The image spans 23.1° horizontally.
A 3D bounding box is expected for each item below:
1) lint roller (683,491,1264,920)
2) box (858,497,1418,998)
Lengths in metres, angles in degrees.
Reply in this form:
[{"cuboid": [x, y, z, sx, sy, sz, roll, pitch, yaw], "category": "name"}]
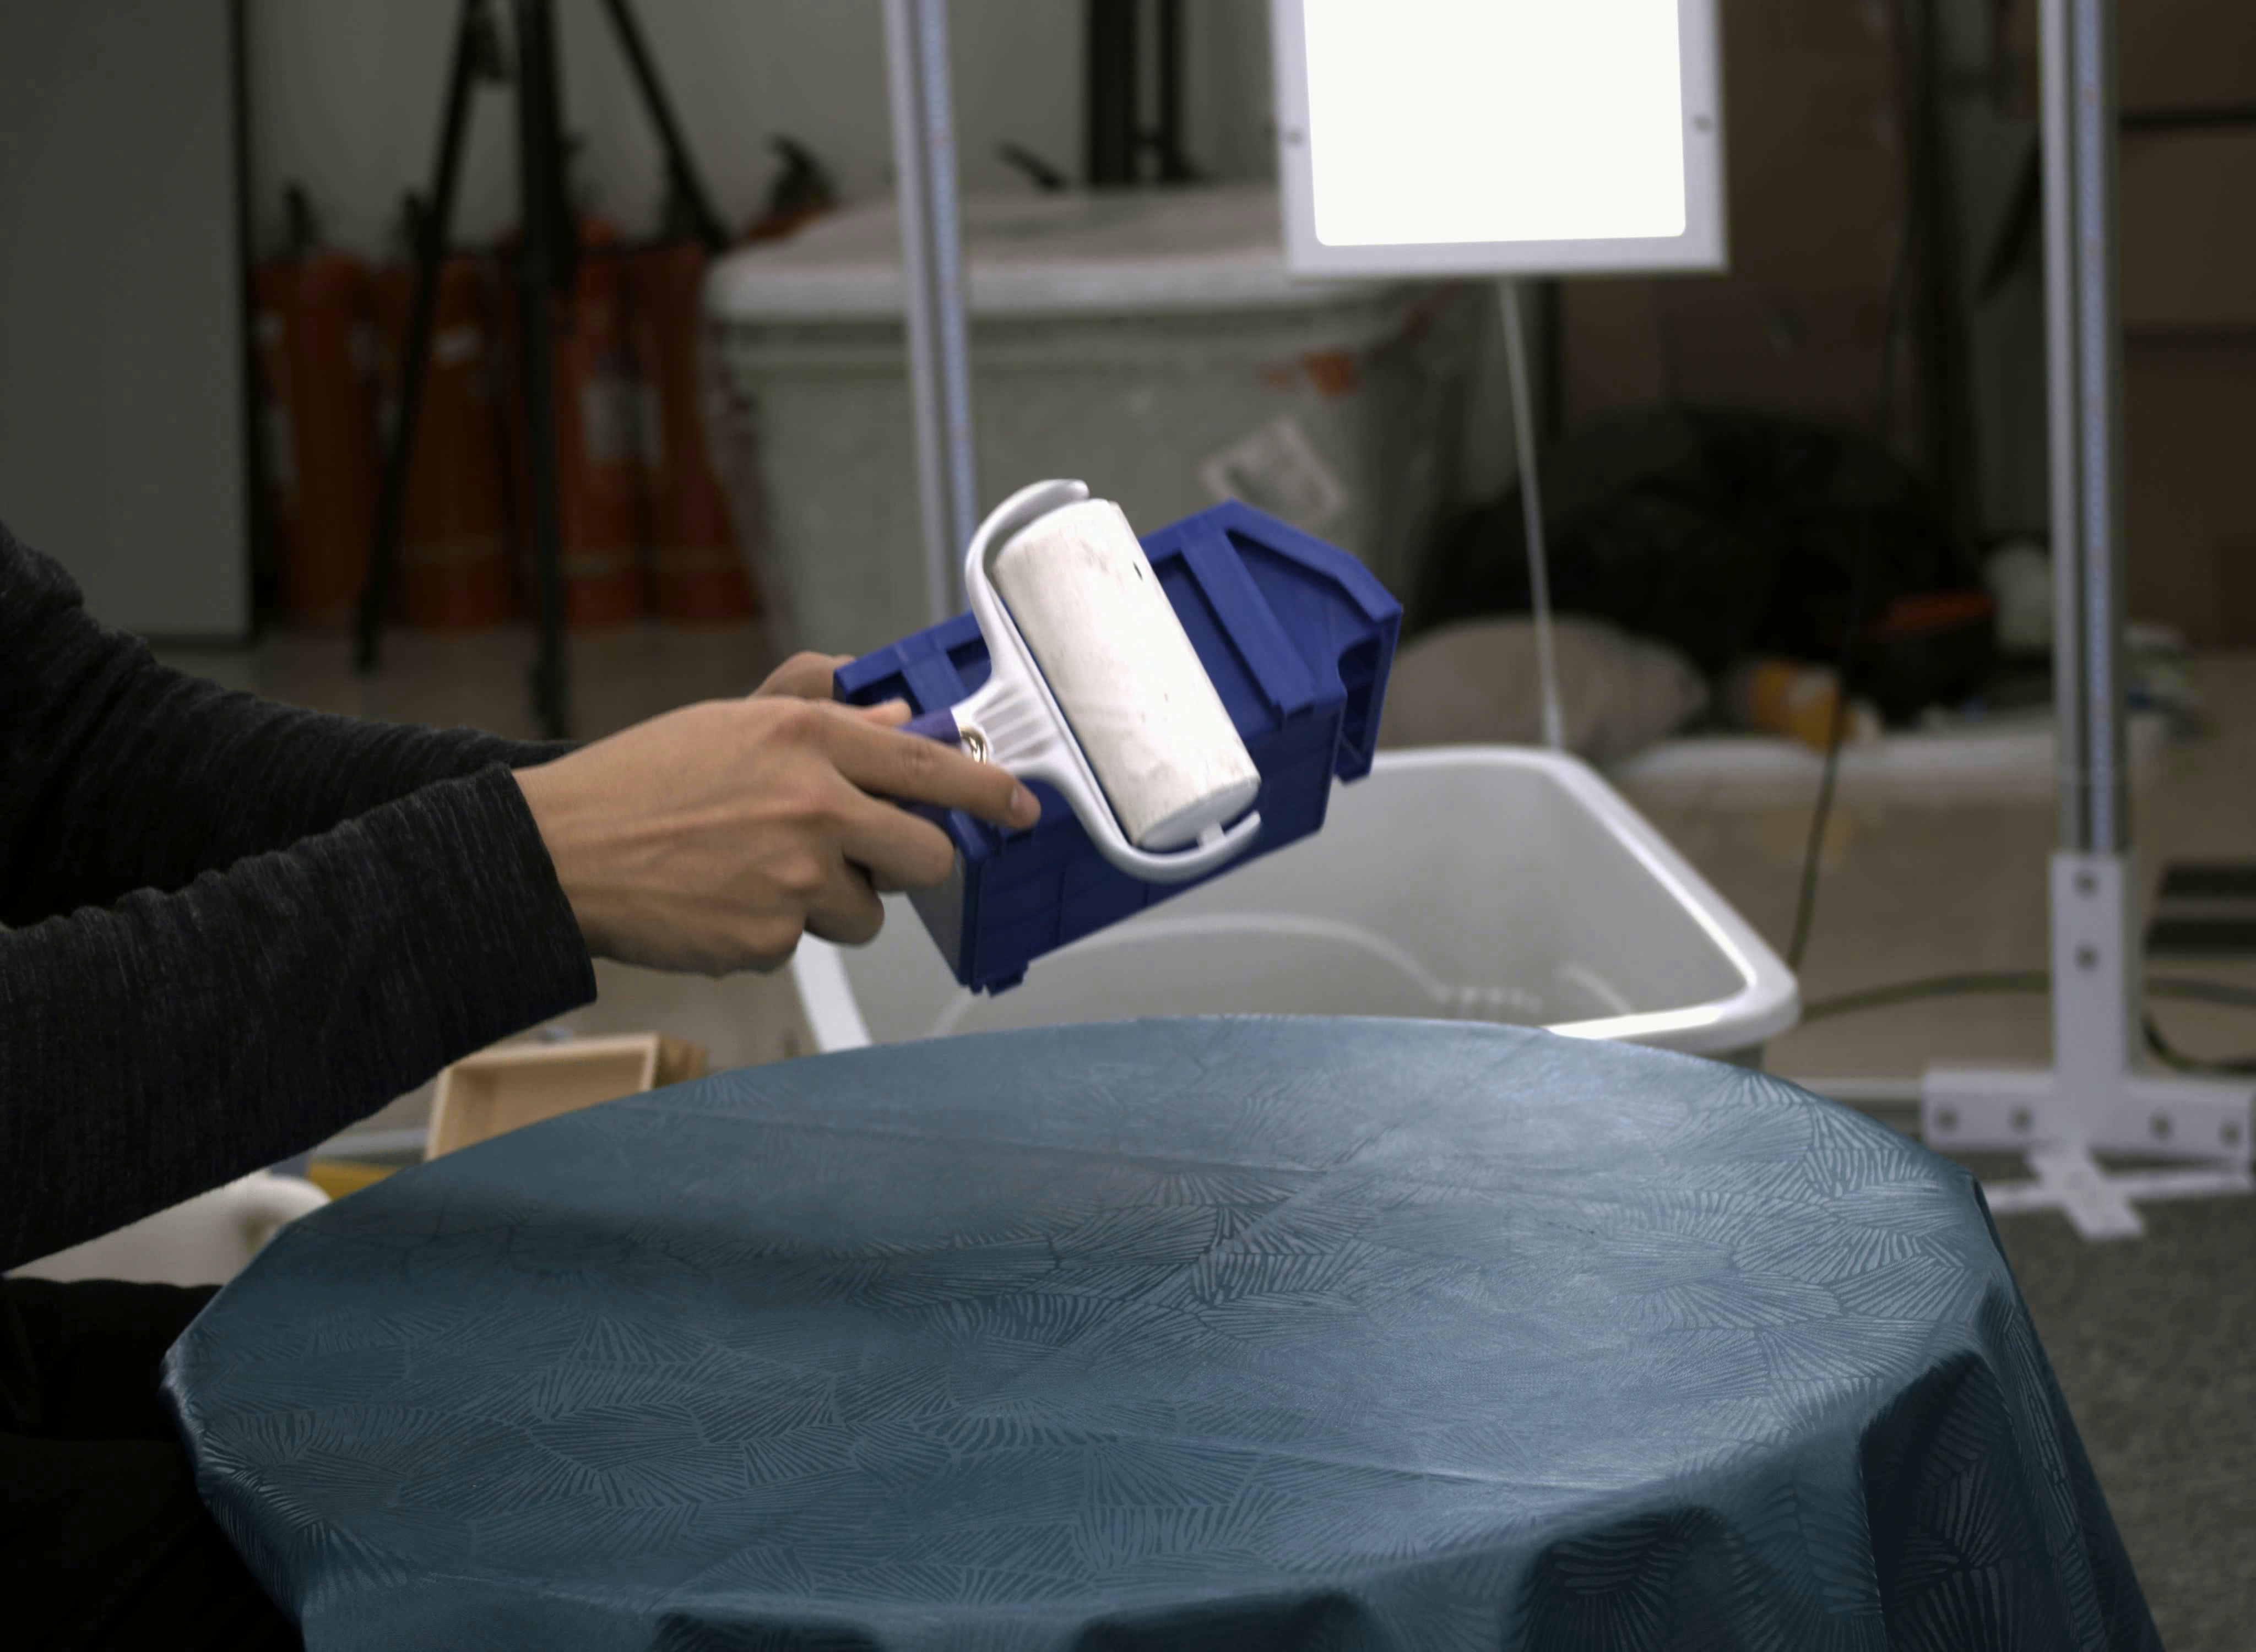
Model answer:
[{"cuboid": [-0.055, -0.020, 1.706, 0.177, 0.133, 0.051, -22, -8, -21], "category": "lint roller"}, {"cuboid": [0.006, -0.027, 1.856, 0.177, 0.082, 0.125, -26, -23, -13], "category": "box"}]
